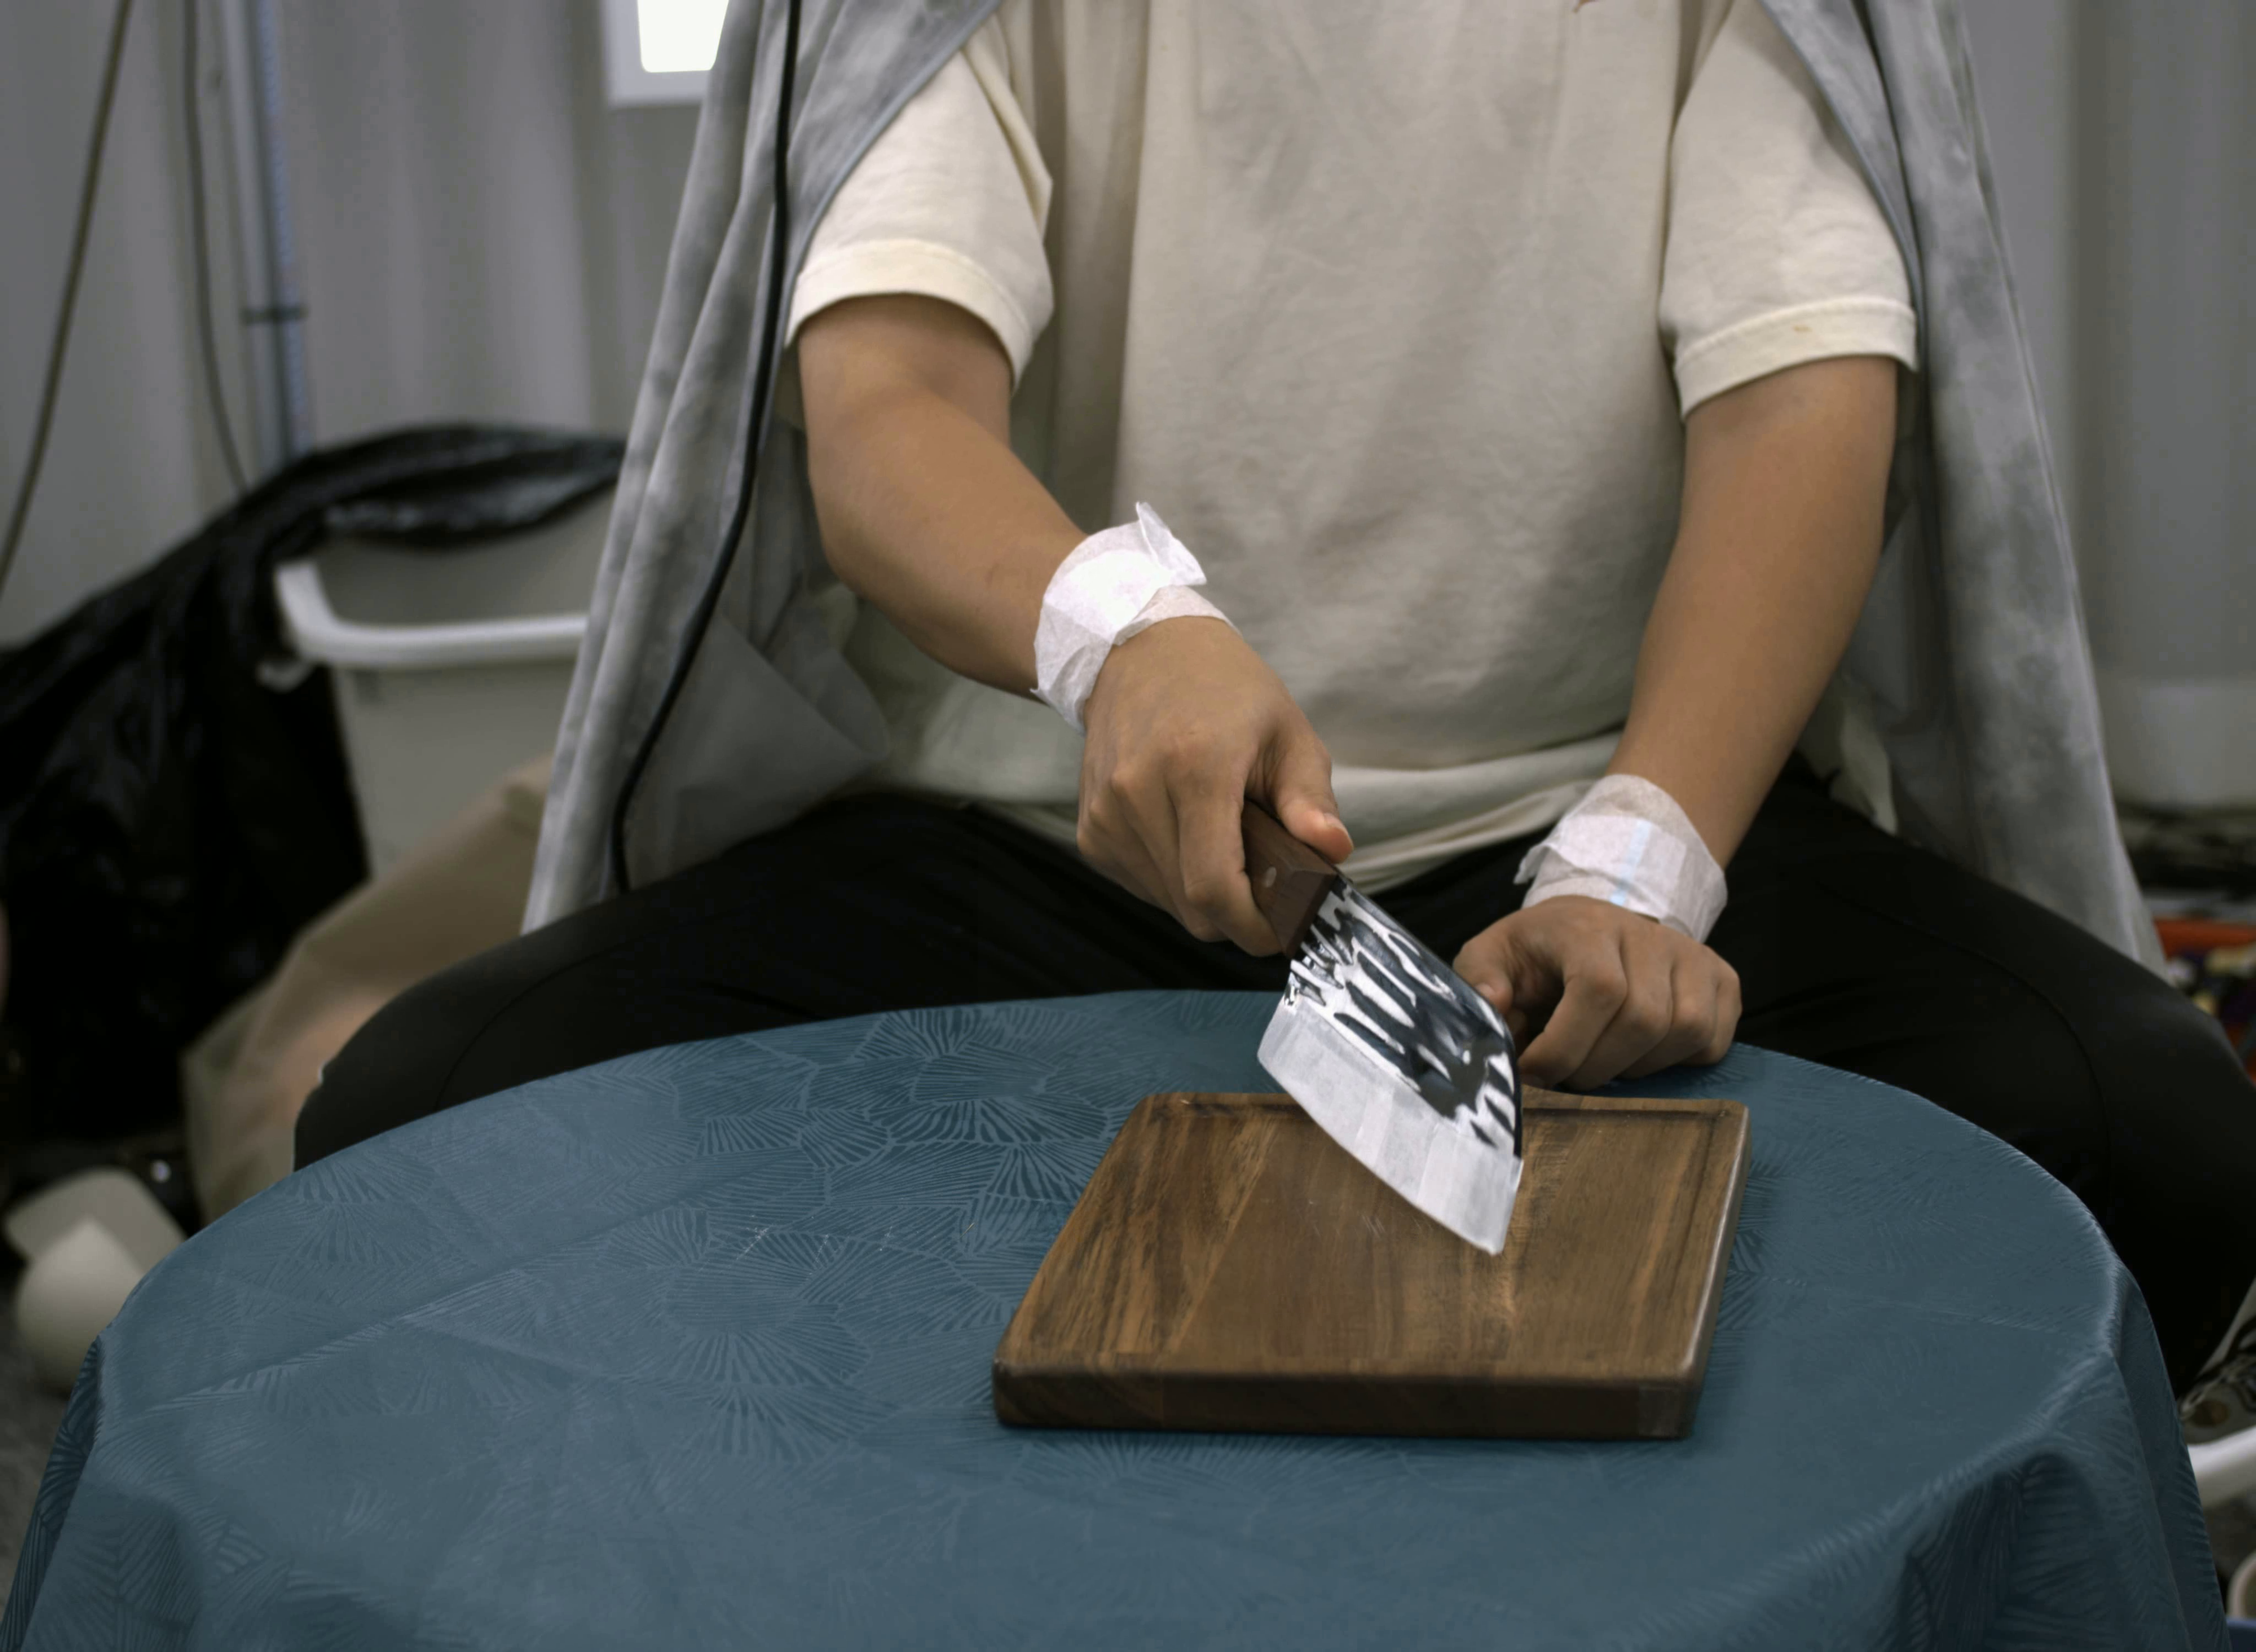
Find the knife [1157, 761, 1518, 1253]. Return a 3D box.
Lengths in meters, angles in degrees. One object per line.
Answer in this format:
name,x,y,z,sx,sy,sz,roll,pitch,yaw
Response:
knife,0.062,0.053,1.707,0.024,0.068,0.303,18,12,-26

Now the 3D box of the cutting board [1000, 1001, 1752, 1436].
cutting board,0.088,0.113,1.668,0.201,0.023,0.354,0,15,11
